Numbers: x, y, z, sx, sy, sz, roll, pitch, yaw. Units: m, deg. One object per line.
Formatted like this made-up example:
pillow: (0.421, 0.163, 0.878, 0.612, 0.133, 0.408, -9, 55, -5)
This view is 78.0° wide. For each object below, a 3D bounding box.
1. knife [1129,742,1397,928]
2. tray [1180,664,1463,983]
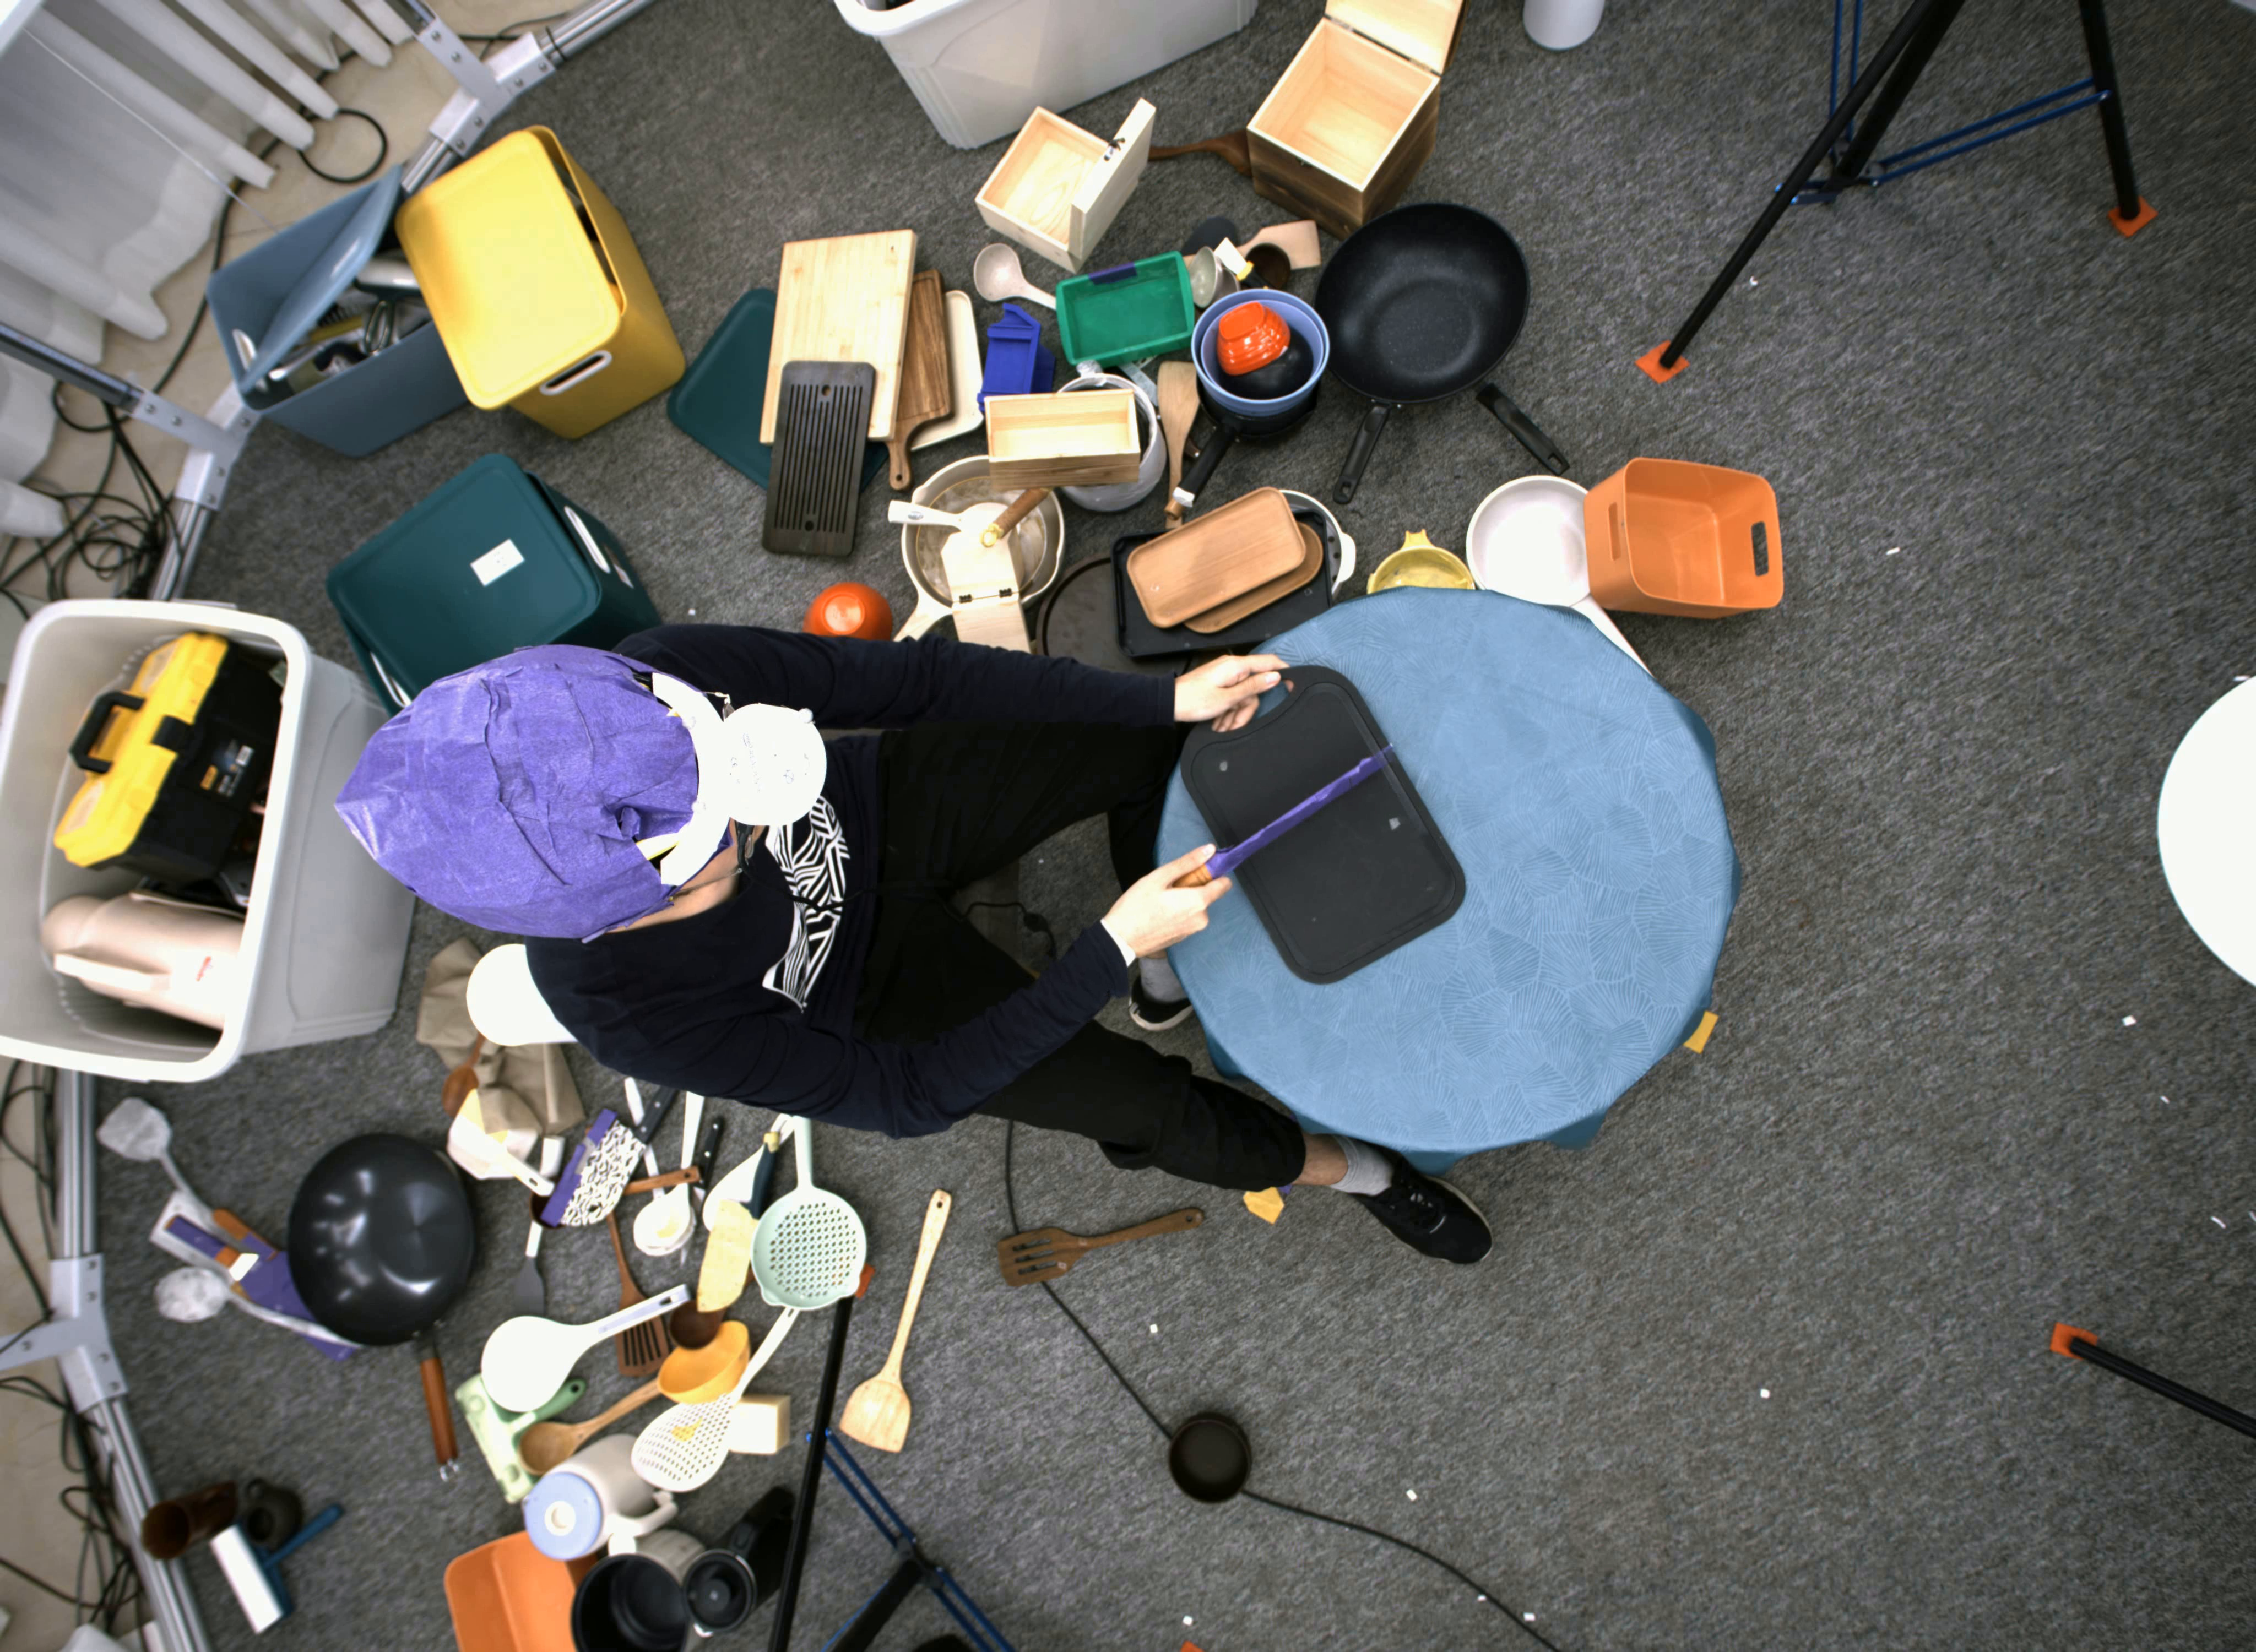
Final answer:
knife: (0.144, 0.012, 1.420, 0.317, 0.104, 0.032, -33, 76, 6)
tray: (0.199, -0.010, 1.462, 0.212, 0.010, 0.324, -29, 87, 7)
